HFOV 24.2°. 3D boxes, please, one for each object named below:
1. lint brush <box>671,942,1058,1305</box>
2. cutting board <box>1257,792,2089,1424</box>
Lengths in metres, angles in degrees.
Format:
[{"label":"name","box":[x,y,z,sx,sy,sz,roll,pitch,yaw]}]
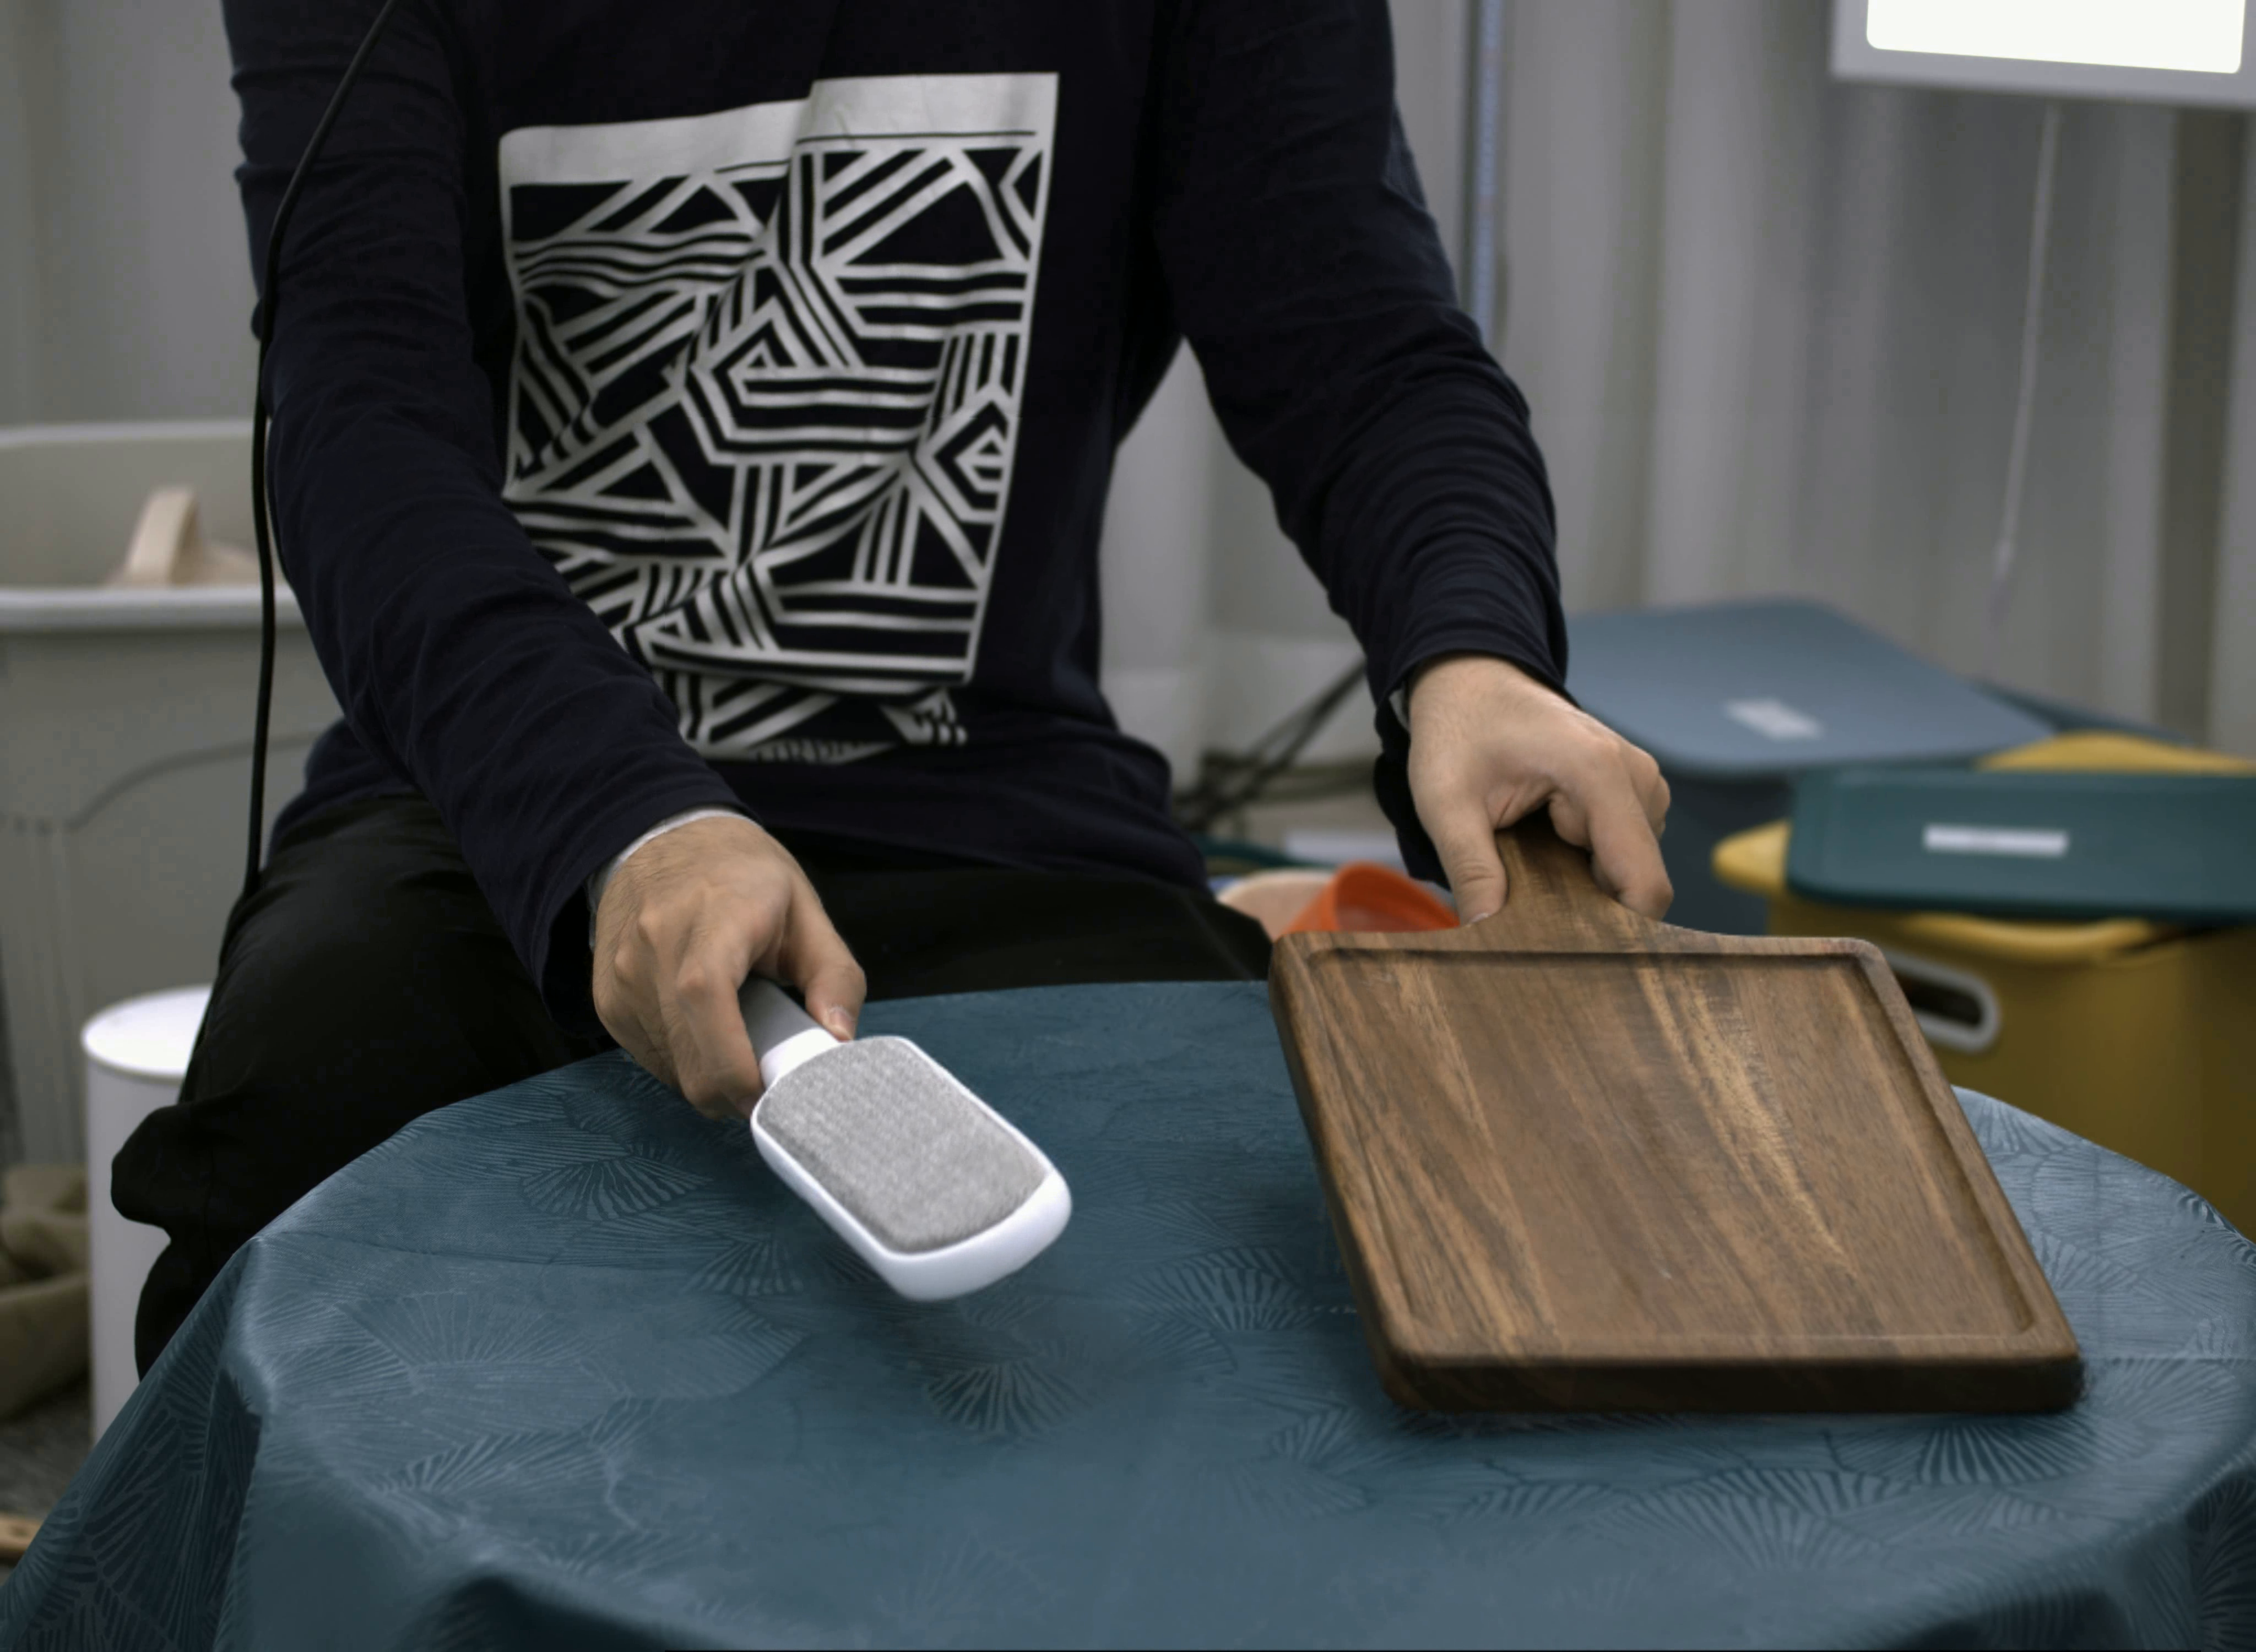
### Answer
[{"label":"lint brush","box":[-0.086,0.081,1.563,0.060,0.021,0.305,-33,22,-9]},{"label":"cutting board","box":[0.147,0.076,1.589,0.201,0.023,0.348,0,27,-8]}]
